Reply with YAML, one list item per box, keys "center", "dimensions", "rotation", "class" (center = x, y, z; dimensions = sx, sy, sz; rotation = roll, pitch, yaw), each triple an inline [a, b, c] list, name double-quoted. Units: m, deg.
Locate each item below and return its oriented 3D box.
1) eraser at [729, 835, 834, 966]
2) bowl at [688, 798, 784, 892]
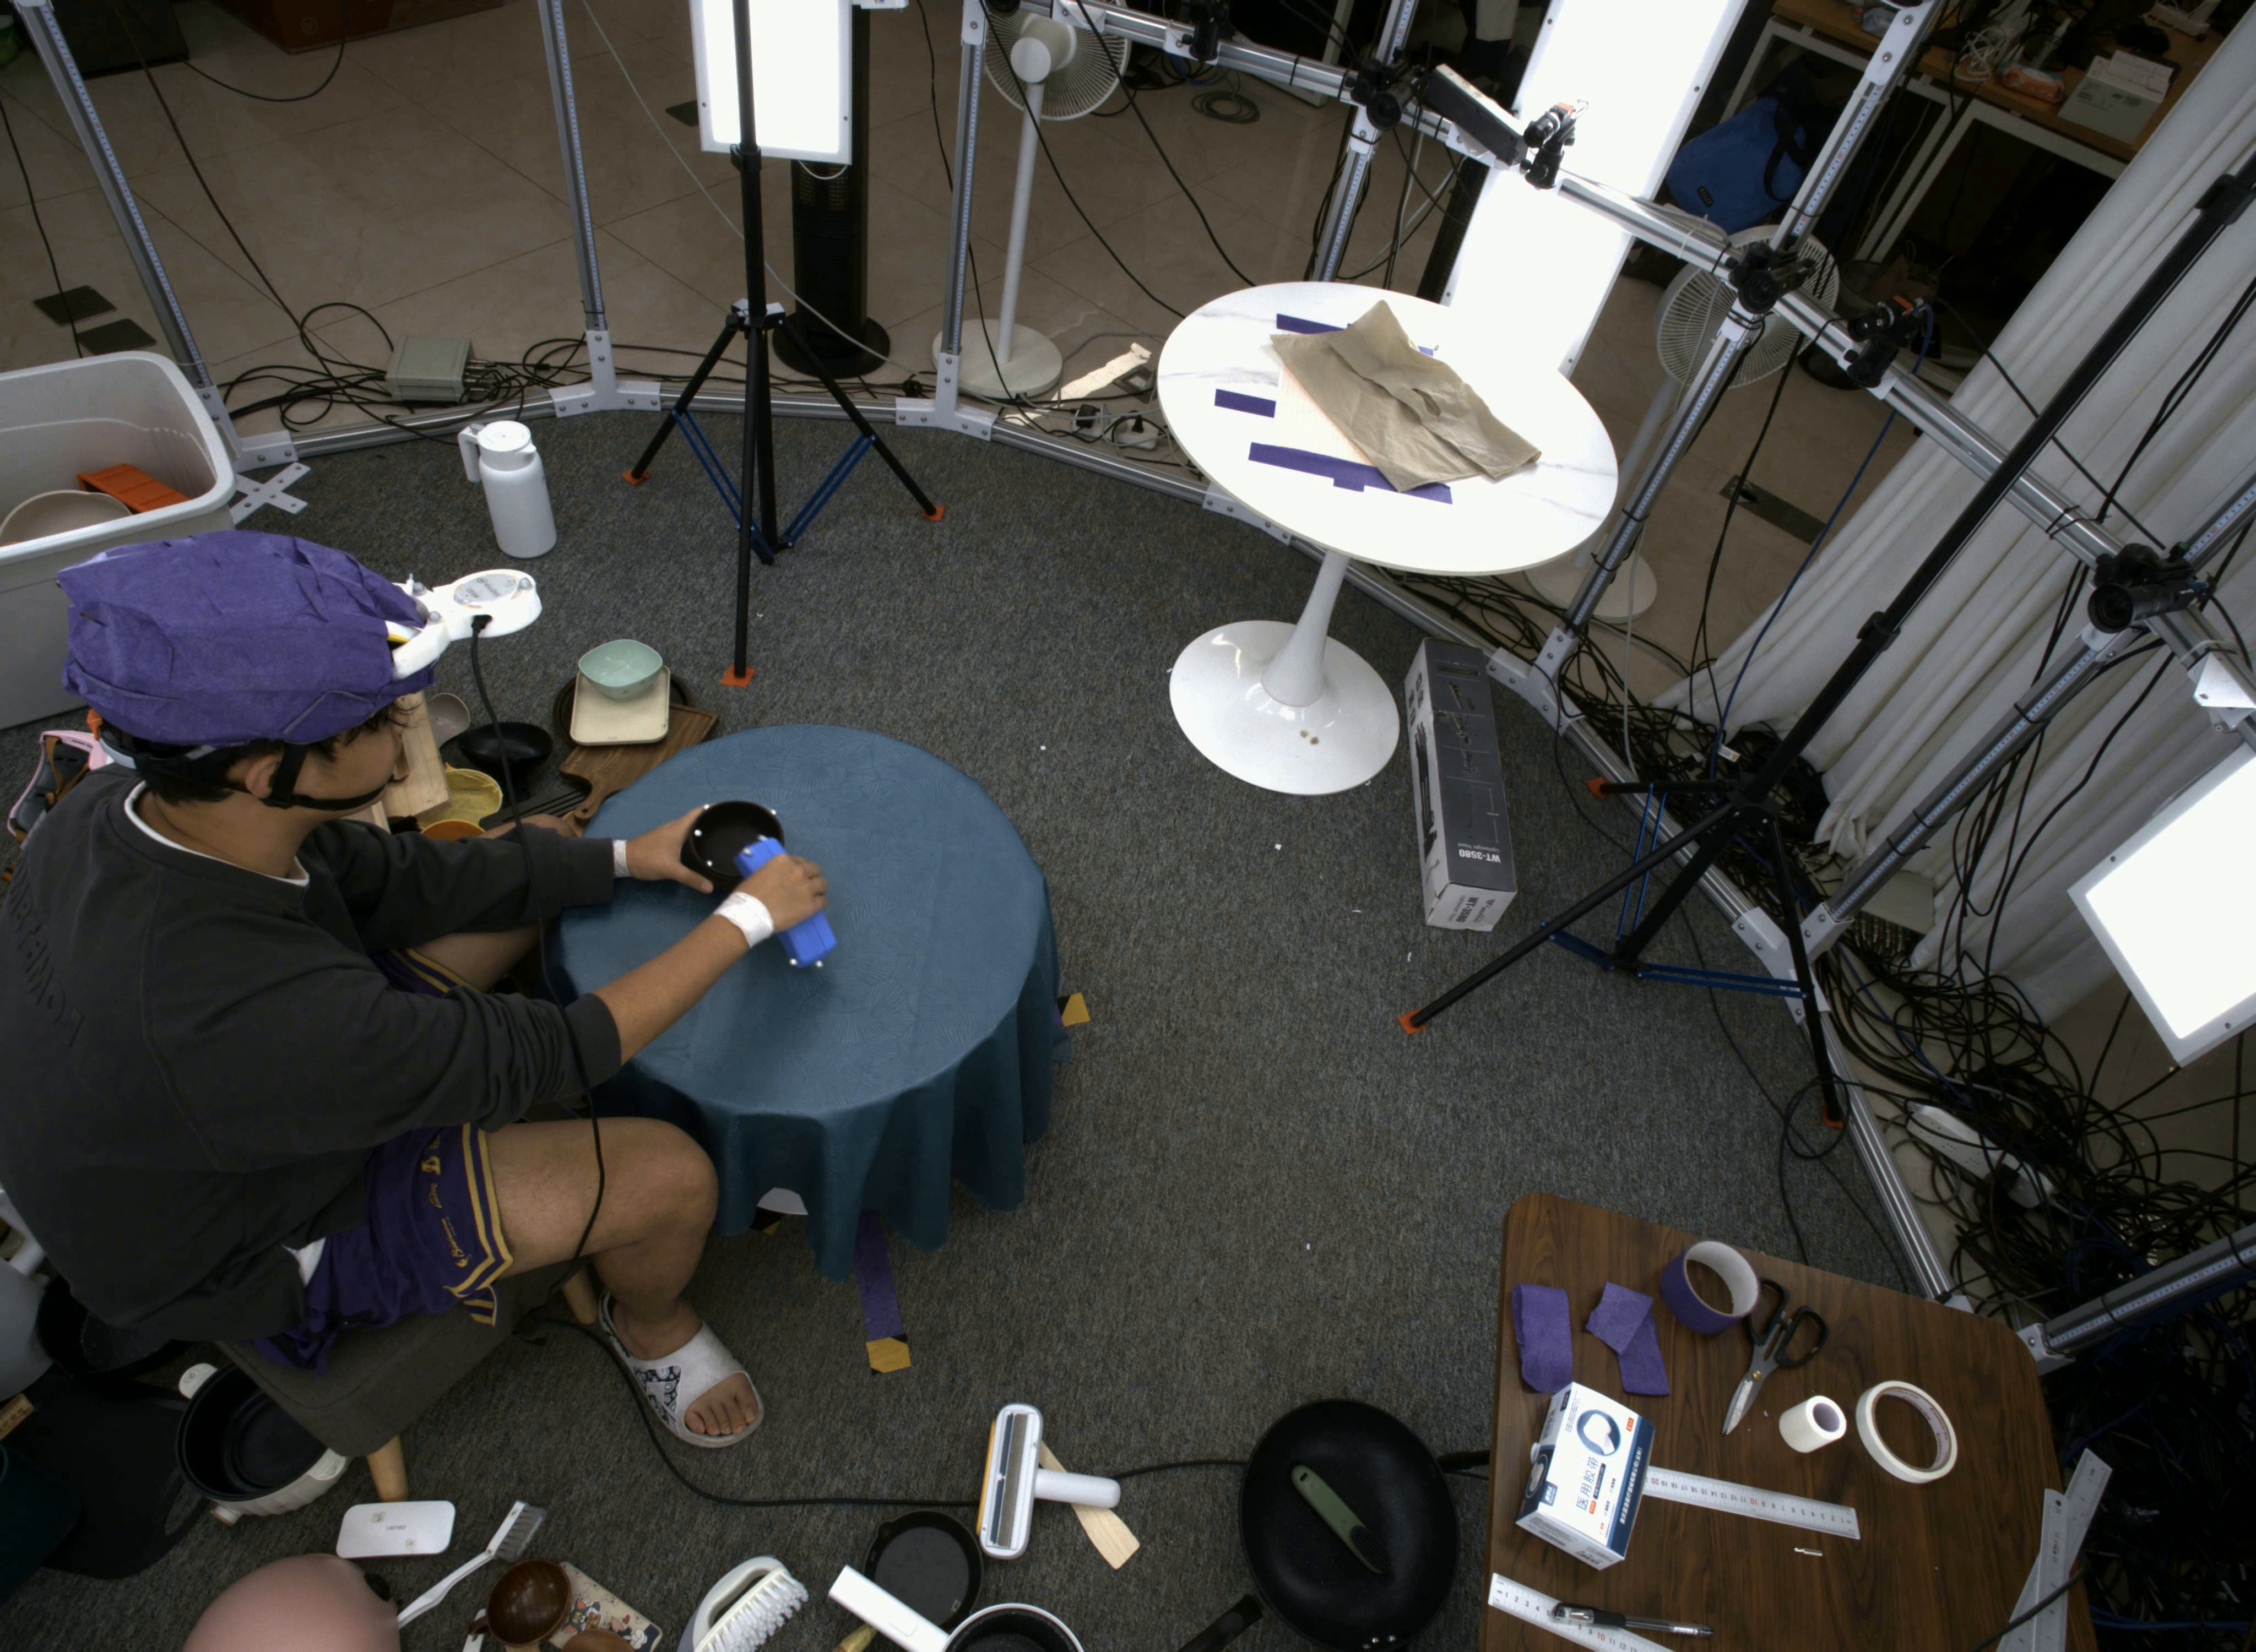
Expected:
- center: [-0.417, 0.085, 1.564]
  dimensions: [0.054, 0.047, 0.162]
  rotation: [-32, 88, -39]
  class: "eraser"
- center: [-0.496, 0.030, 1.636]
  dimensions: [0.118, 0.071, 0.116]
  rotation: [10, 55, -14]
  class: "bowl"
